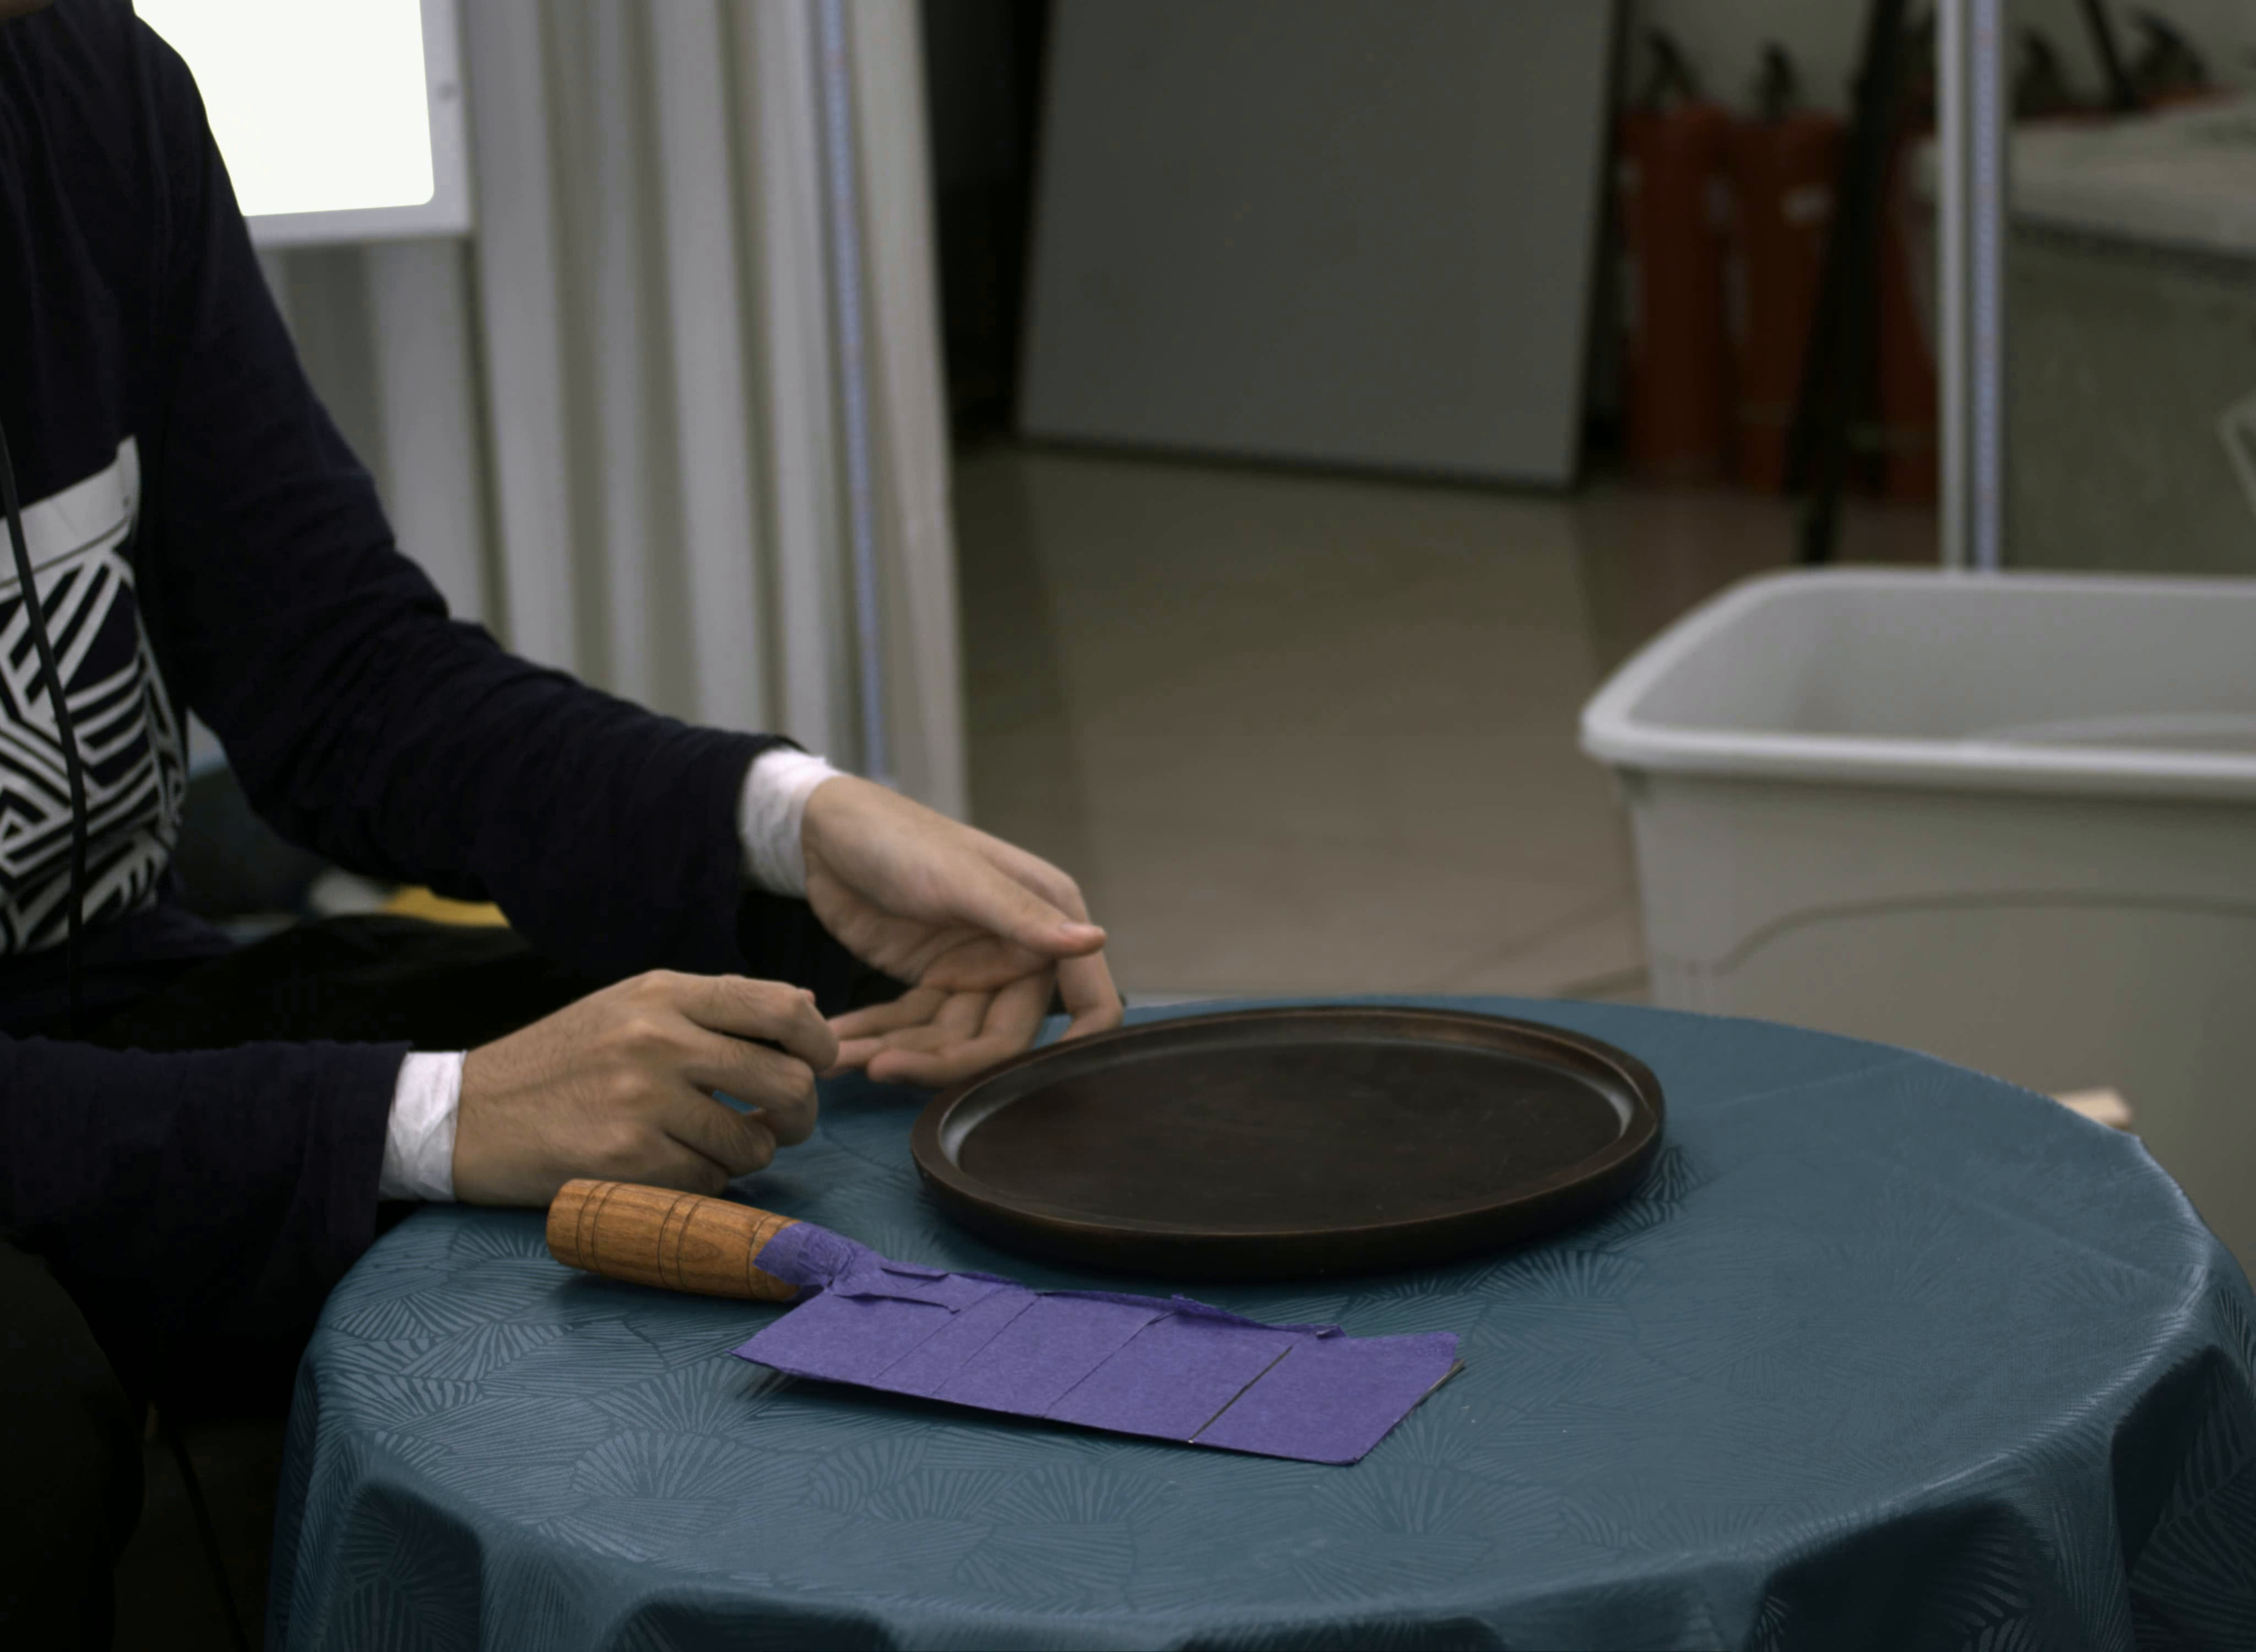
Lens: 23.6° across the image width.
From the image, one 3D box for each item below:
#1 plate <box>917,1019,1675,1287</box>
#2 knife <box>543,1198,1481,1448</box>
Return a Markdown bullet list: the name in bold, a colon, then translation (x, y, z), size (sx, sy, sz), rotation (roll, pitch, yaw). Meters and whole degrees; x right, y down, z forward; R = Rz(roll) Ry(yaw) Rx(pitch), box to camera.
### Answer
- **plate**: translation (0.055, 0.105, 1.776), size (0.251, 0.029, 0.255), rotation (-3, 13, 0)
- **knife**: translation (-0.053, 0.149, 1.620), size (0.316, 0.032, 0.102), rotation (3, 15, 28)
